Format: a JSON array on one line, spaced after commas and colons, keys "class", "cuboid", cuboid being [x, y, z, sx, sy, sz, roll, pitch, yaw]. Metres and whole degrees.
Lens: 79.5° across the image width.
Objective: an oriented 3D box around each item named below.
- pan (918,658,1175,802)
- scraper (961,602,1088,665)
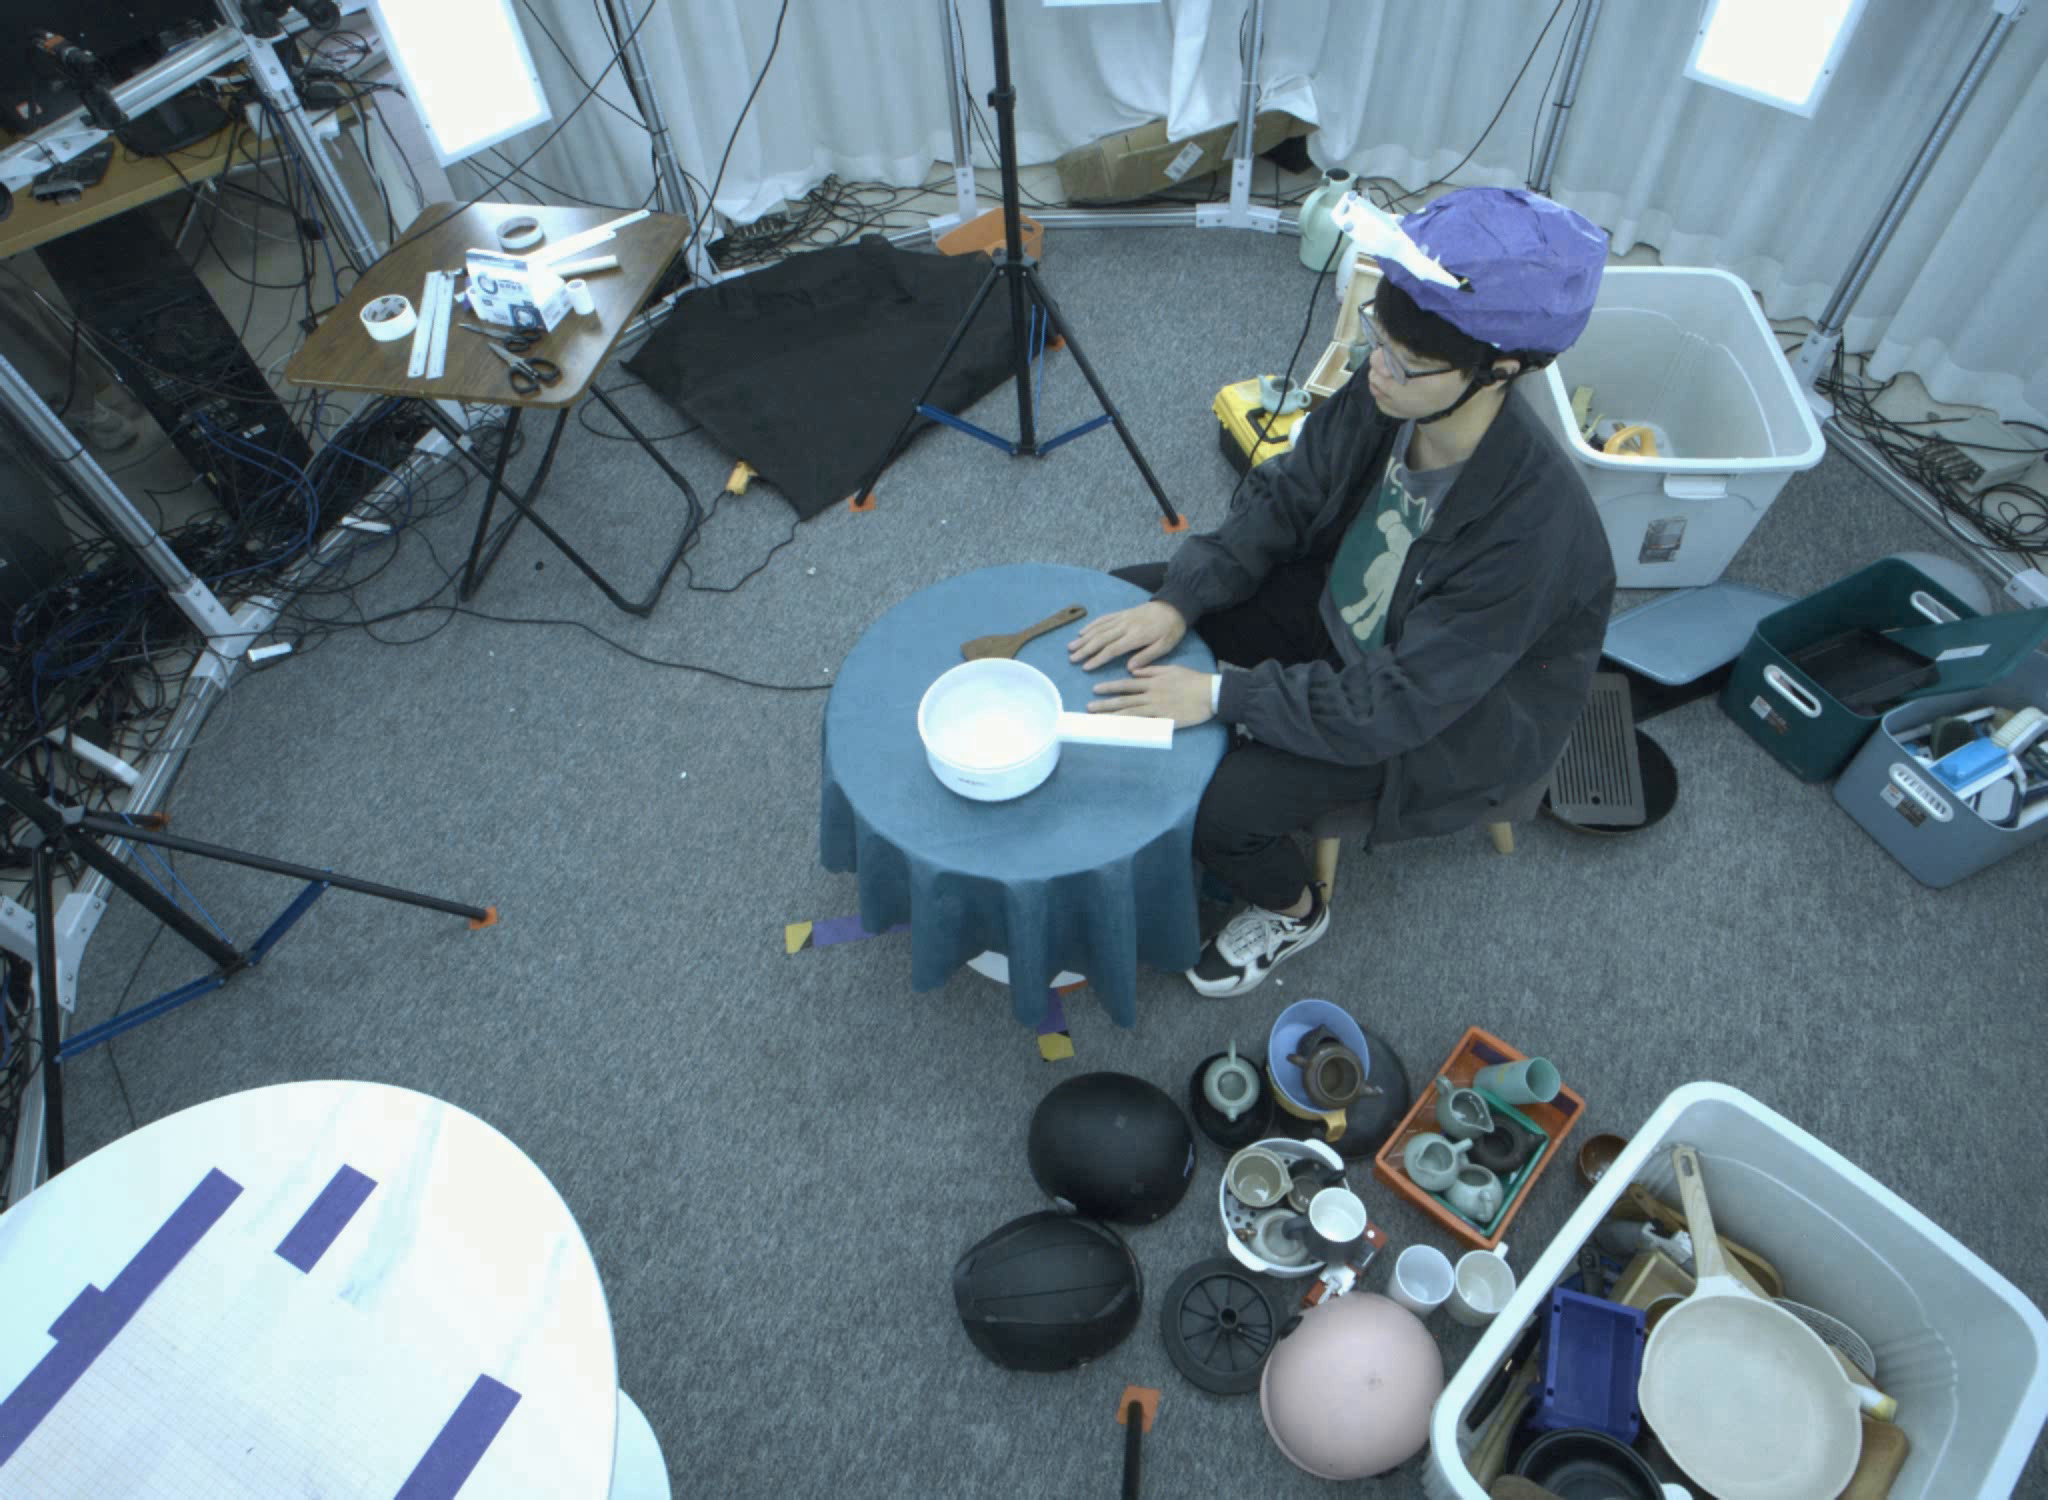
[{"class": "pan", "cuboid": [0.031, -0.015, 1.729, 0.354, 0.103, 0.200, 6, 54, 4]}, {"class": "scraper", "cuboid": [0.006, -0.180, 1.903, 0.213, 0.011, 0.074, -27, 59, -17]}]
